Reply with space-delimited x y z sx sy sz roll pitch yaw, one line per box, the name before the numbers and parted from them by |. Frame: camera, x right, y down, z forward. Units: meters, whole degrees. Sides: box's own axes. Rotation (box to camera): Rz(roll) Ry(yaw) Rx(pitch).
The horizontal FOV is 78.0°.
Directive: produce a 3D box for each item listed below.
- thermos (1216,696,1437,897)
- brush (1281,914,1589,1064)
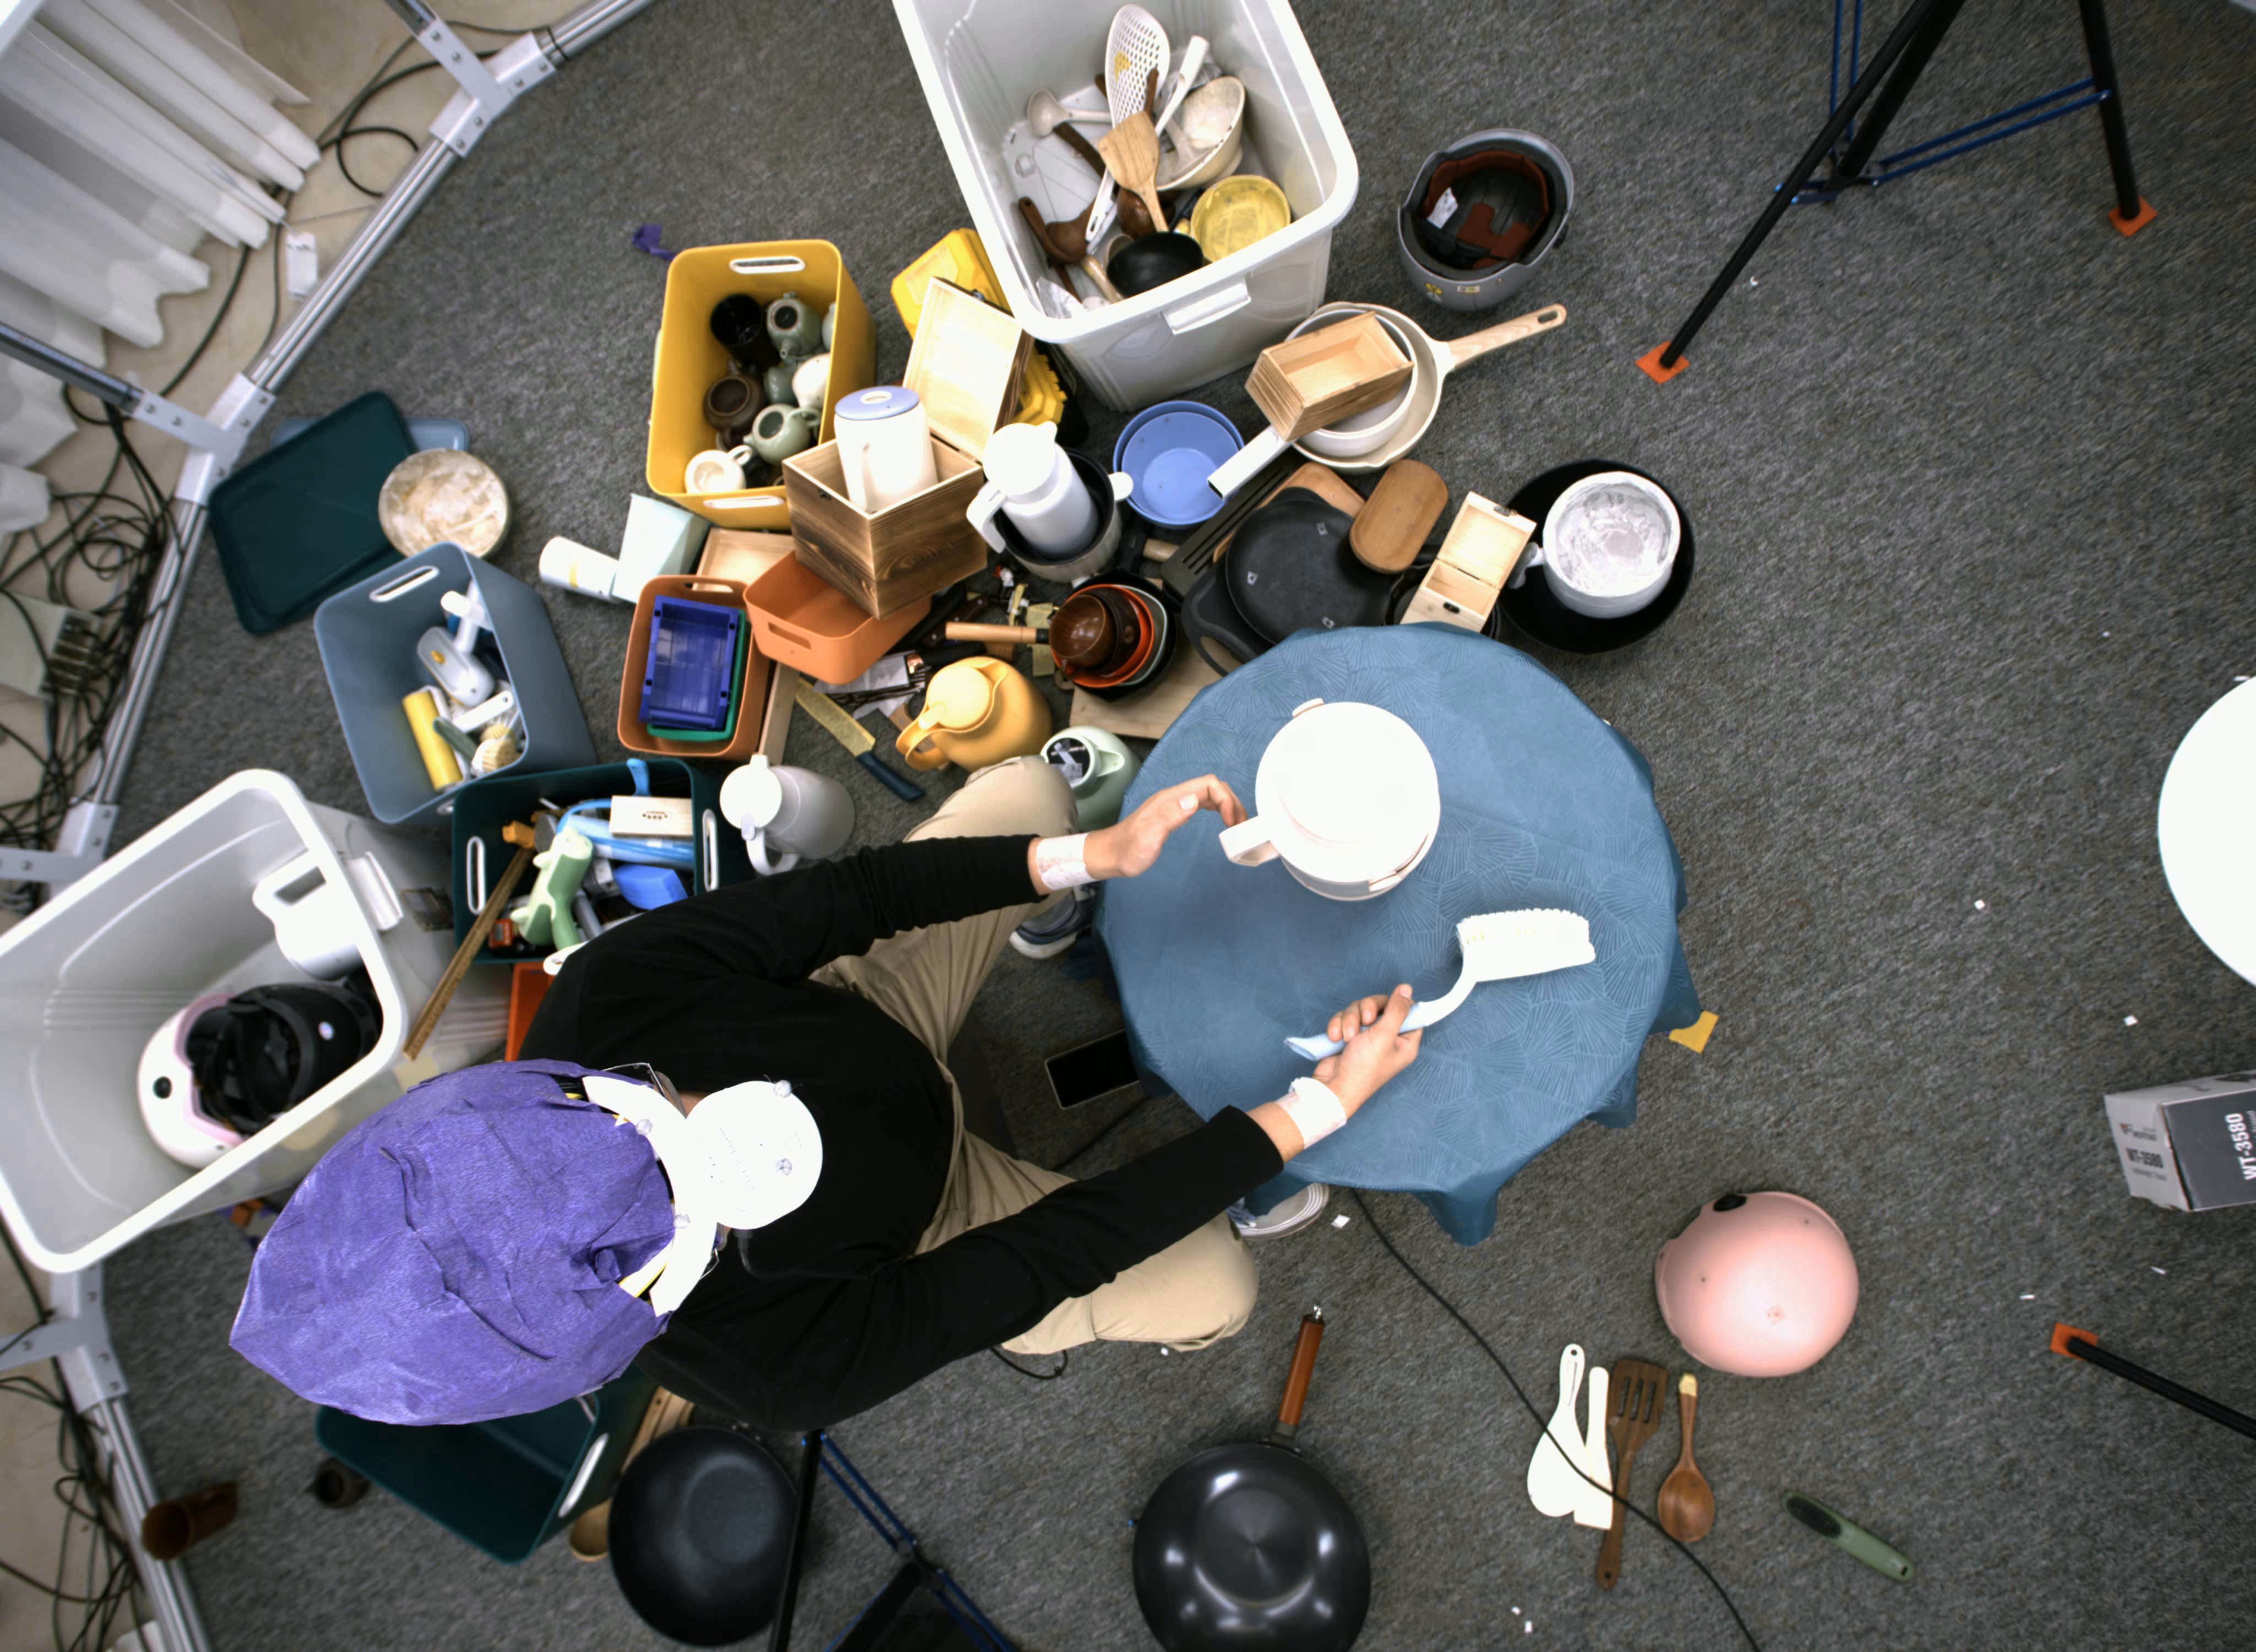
thermos | 0.187 -0.018 1.279 0.208 0.406 0.174 -24 82 6
brush | 0.301 0.147 1.391 0.326 0.083 0.084 -18 106 3
